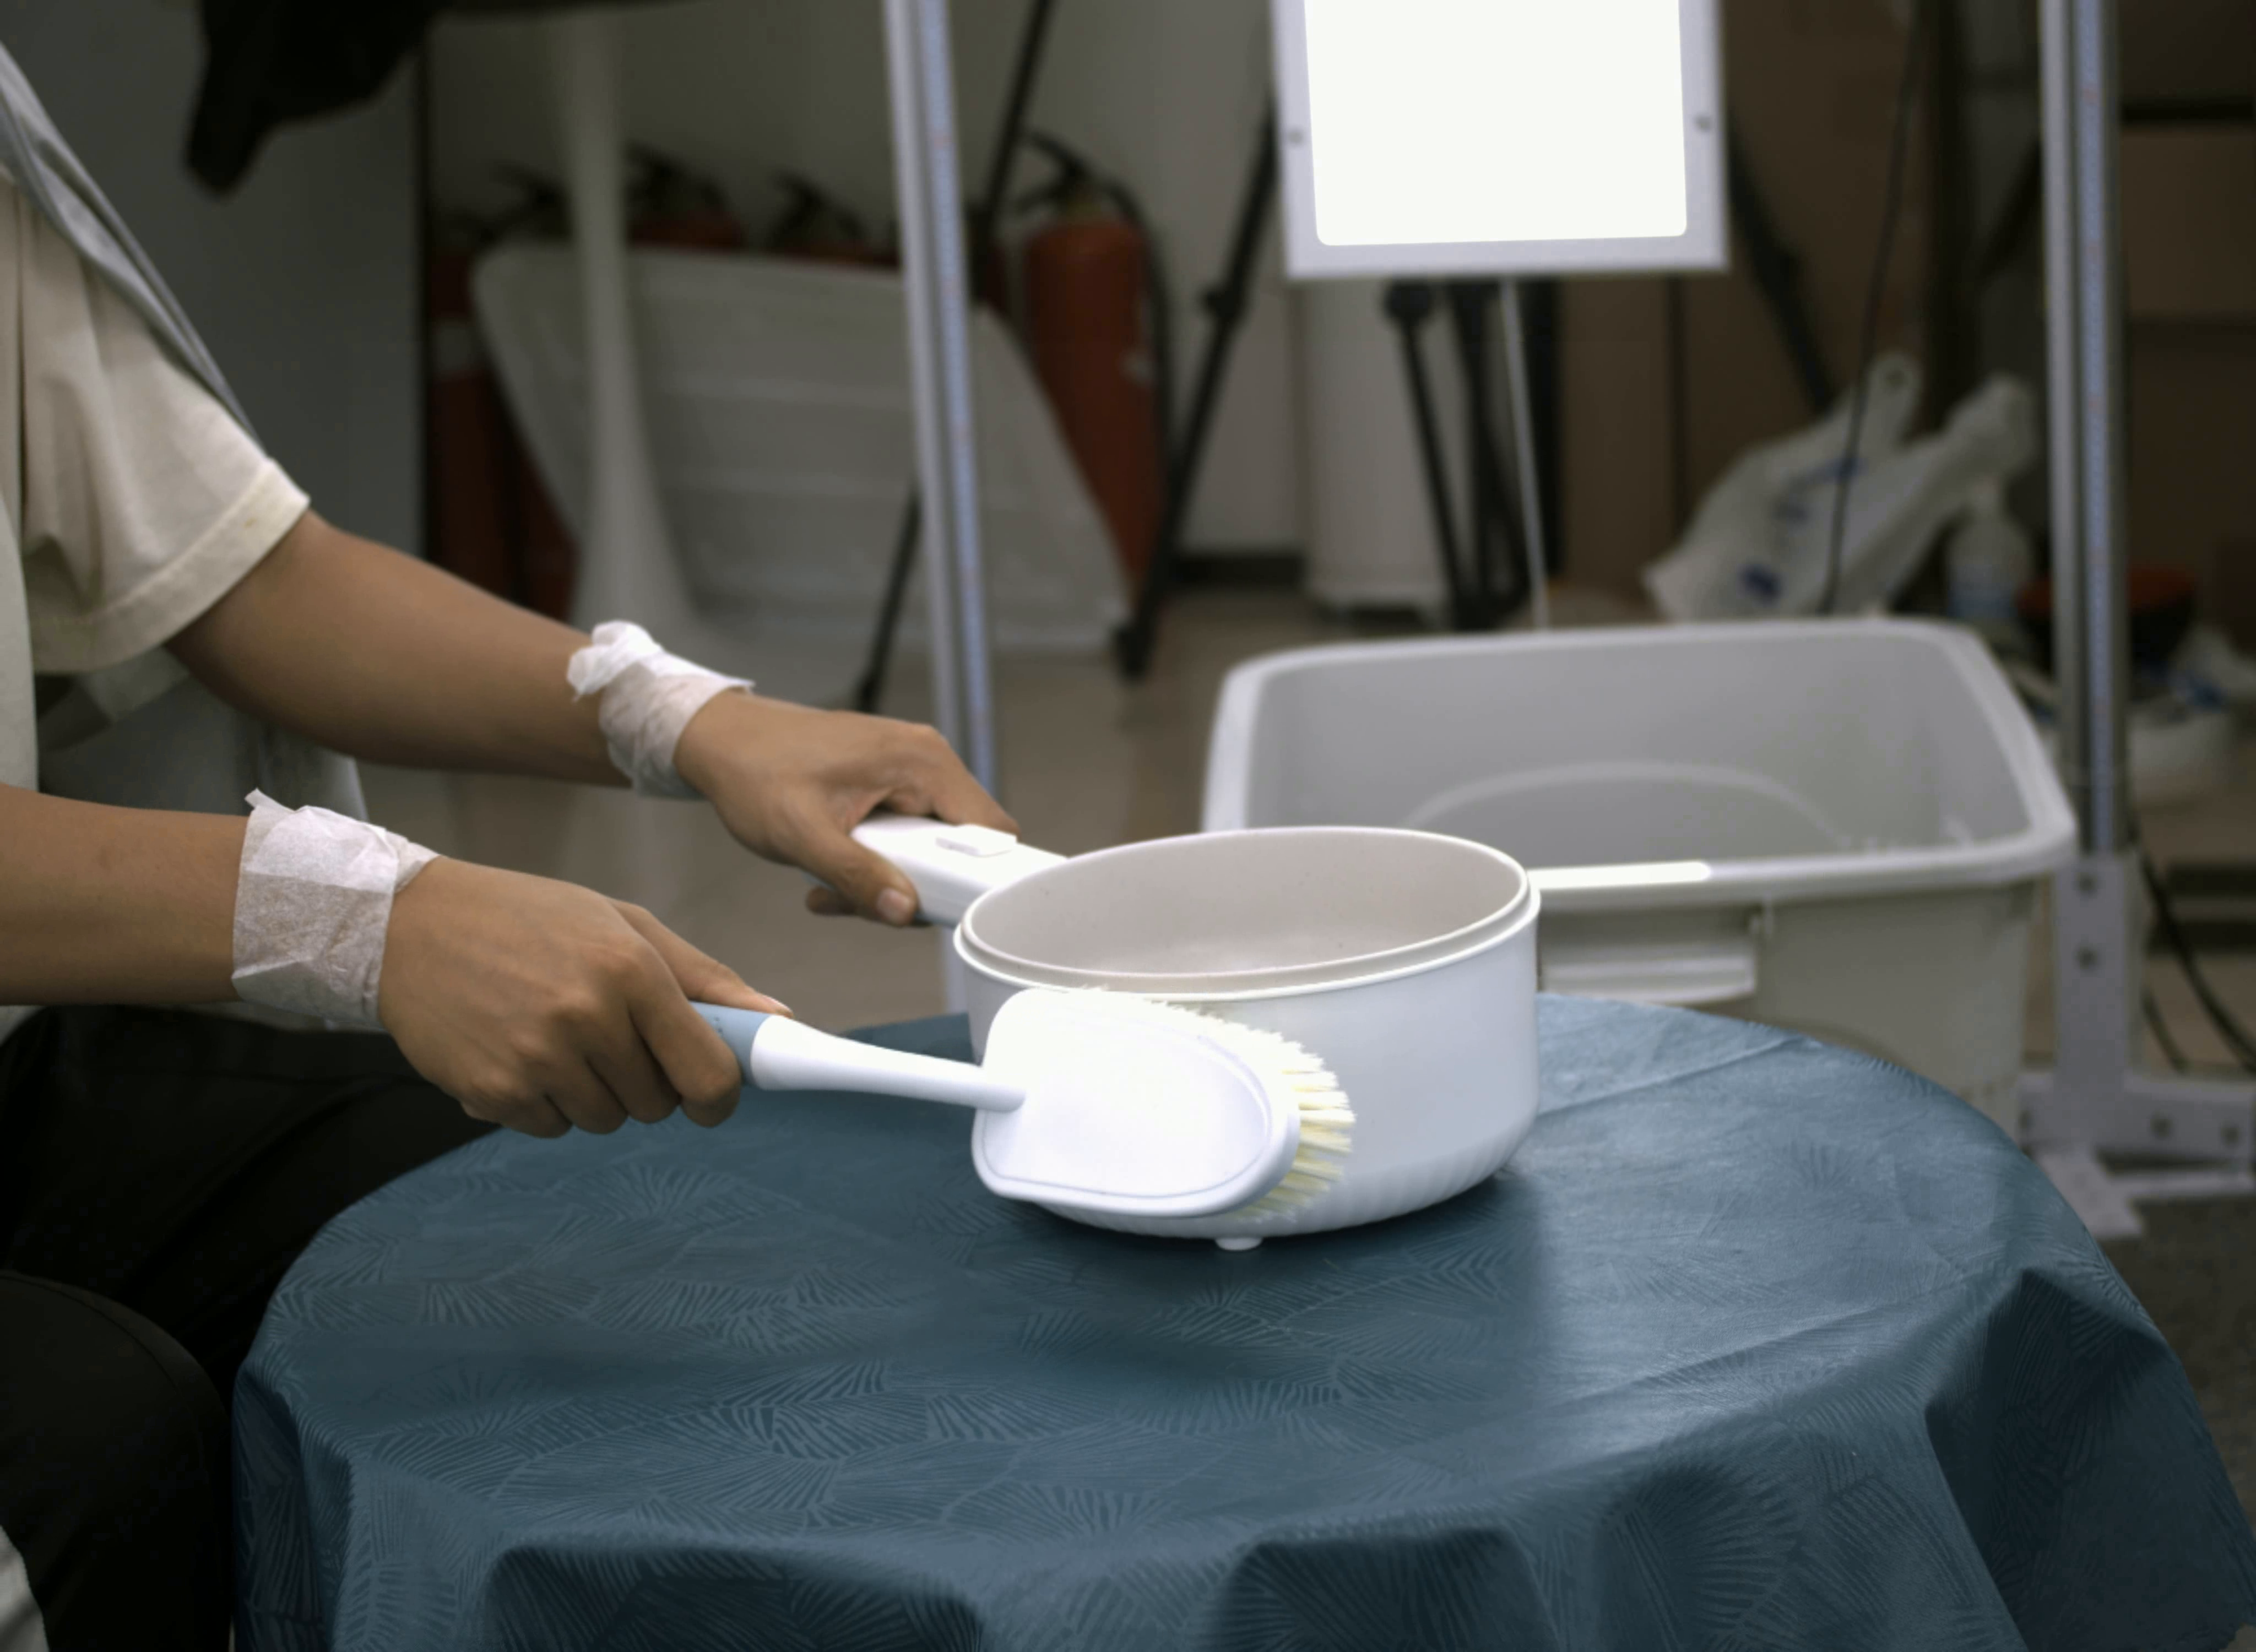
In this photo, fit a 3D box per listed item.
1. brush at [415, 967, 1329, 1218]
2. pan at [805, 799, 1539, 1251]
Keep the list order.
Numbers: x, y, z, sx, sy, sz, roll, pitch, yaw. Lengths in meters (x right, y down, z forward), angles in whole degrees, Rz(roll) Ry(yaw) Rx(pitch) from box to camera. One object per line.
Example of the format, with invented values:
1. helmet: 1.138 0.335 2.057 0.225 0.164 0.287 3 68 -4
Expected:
1. brush: -0.081 0.074 1.790 0.331 0.084 0.082 7 51 28
2. pan: -0.002 0.063 1.949 0.196 0.102 0.362 -14 16 -33
